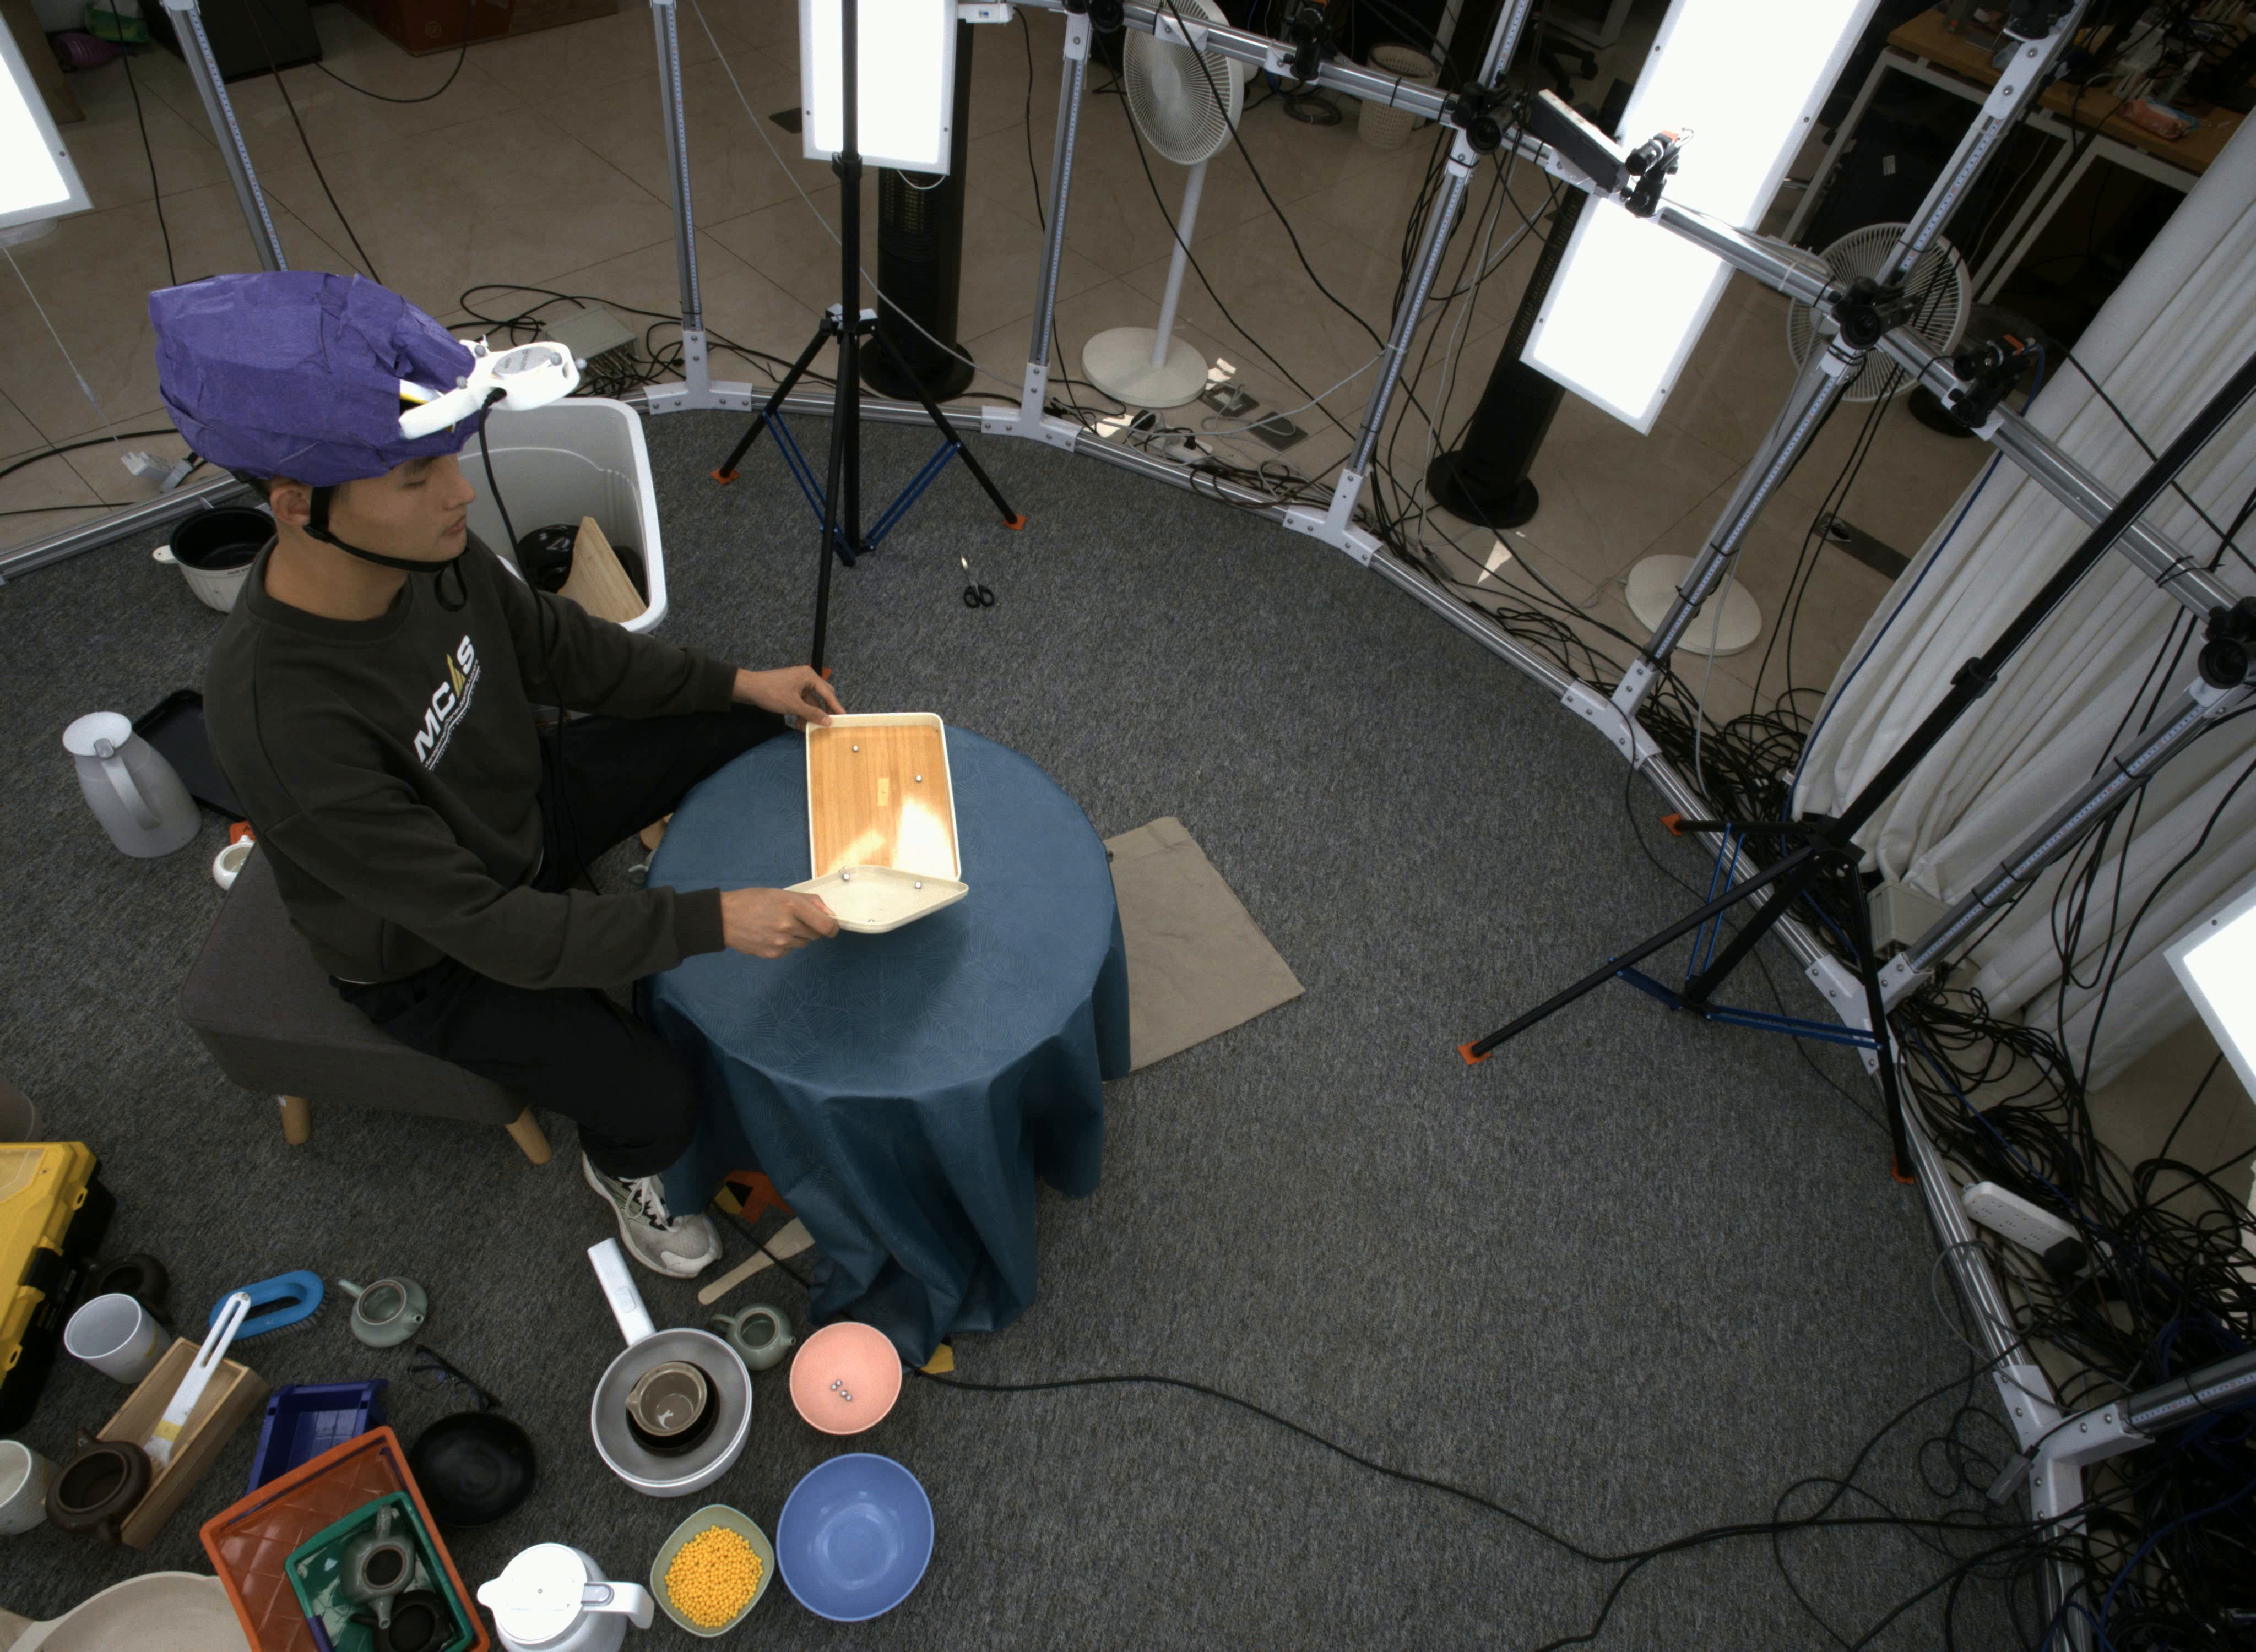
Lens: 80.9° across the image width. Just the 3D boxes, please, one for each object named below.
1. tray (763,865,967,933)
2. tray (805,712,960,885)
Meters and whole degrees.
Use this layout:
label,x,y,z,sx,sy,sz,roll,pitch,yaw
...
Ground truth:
label,x,y,z,sx,sy,sz,roll,pitch,yaw
tray,-0.313,0.085,1.571,0.166,0.018,0.241,10,12,18
tray,-0.336,-0.033,1.764,0.192,0.028,0.293,-3,54,-15
